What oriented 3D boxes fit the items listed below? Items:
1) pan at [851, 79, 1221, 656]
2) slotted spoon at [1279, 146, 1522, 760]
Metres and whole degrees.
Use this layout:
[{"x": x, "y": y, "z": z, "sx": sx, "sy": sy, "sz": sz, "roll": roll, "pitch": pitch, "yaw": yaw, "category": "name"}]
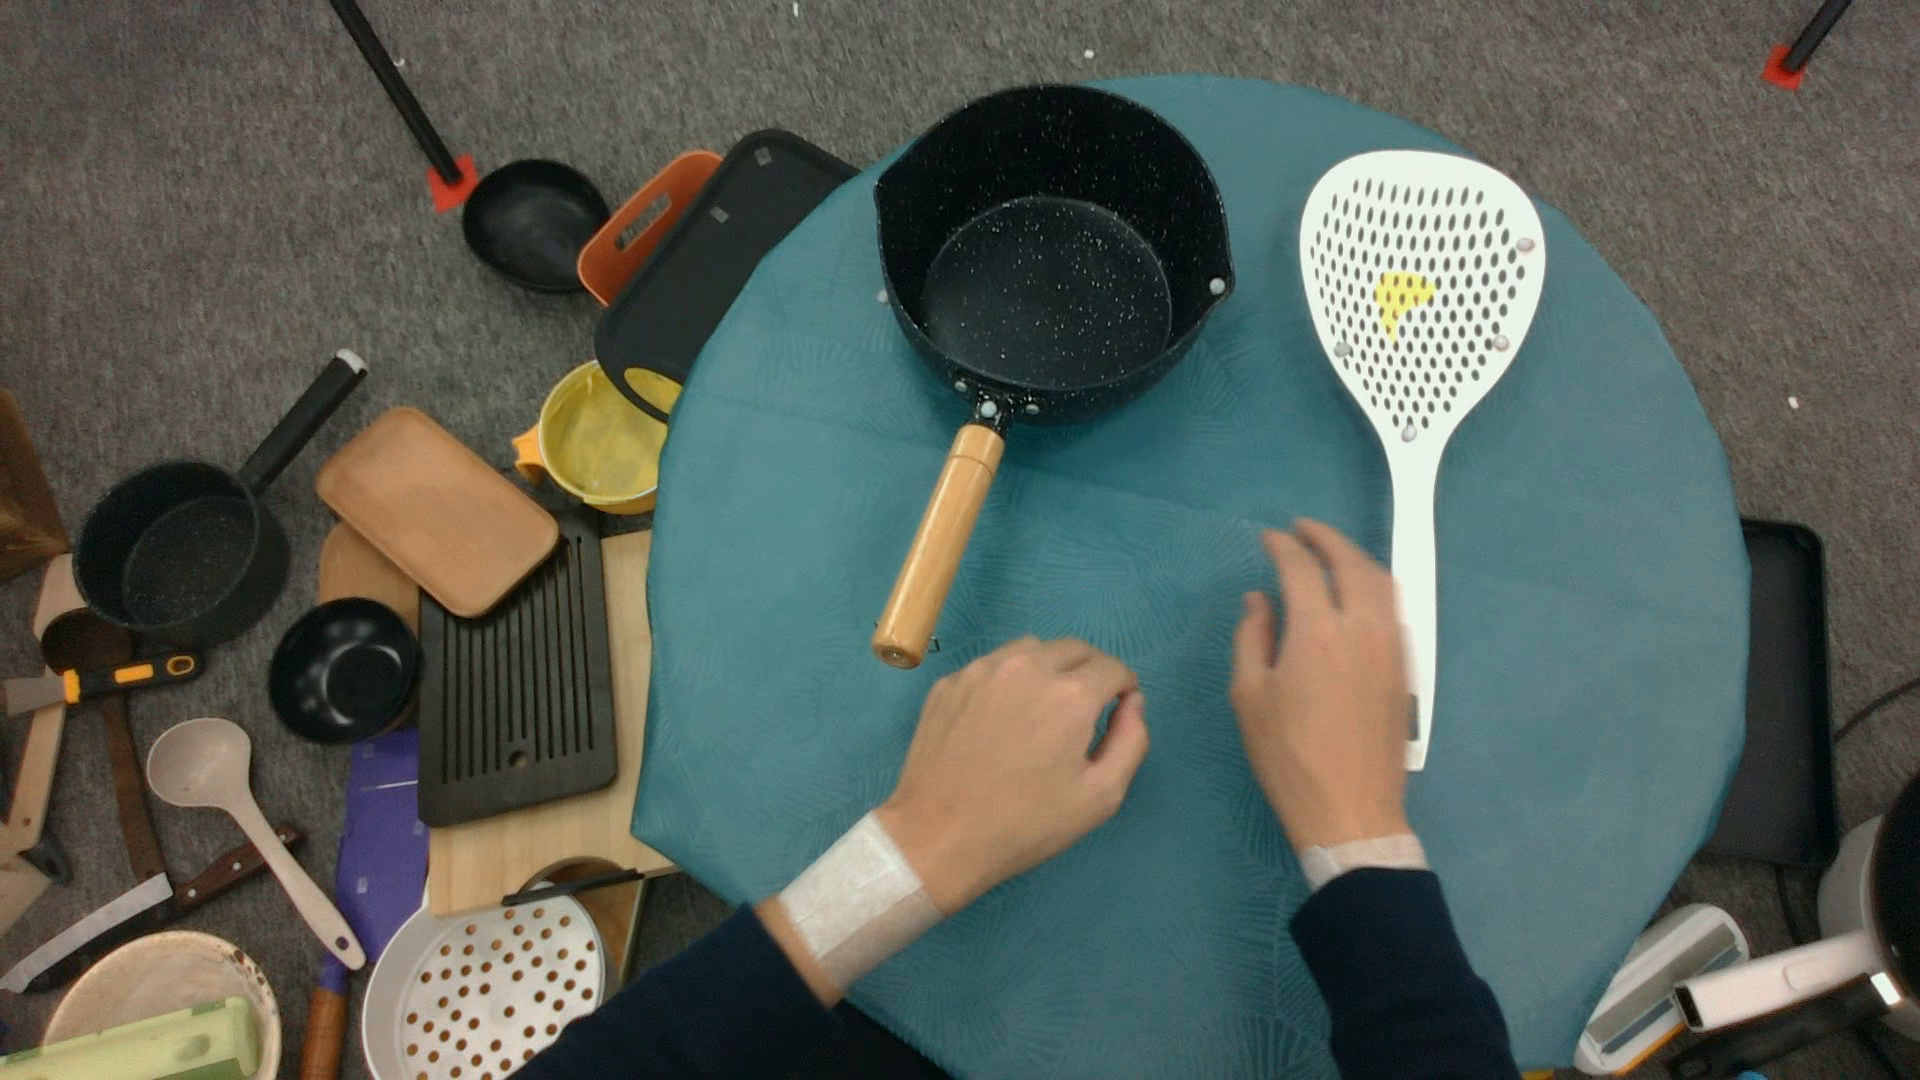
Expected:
[{"x": 0.018, "y": -0.085, "z": 0.732, "sx": 0.207, "sy": 0.108, "sz": 0.344, "roll": 16, "pitch": 70, "yaw": 5, "category": "pan"}, {"x": 0.239, "y": -0.057, "z": 0.753, "sx": 0.137, "sy": 0.050, "sz": 0.349, "roll": 4, "pitch": 69, "yaw": 1, "category": "slotted spoon"}]
